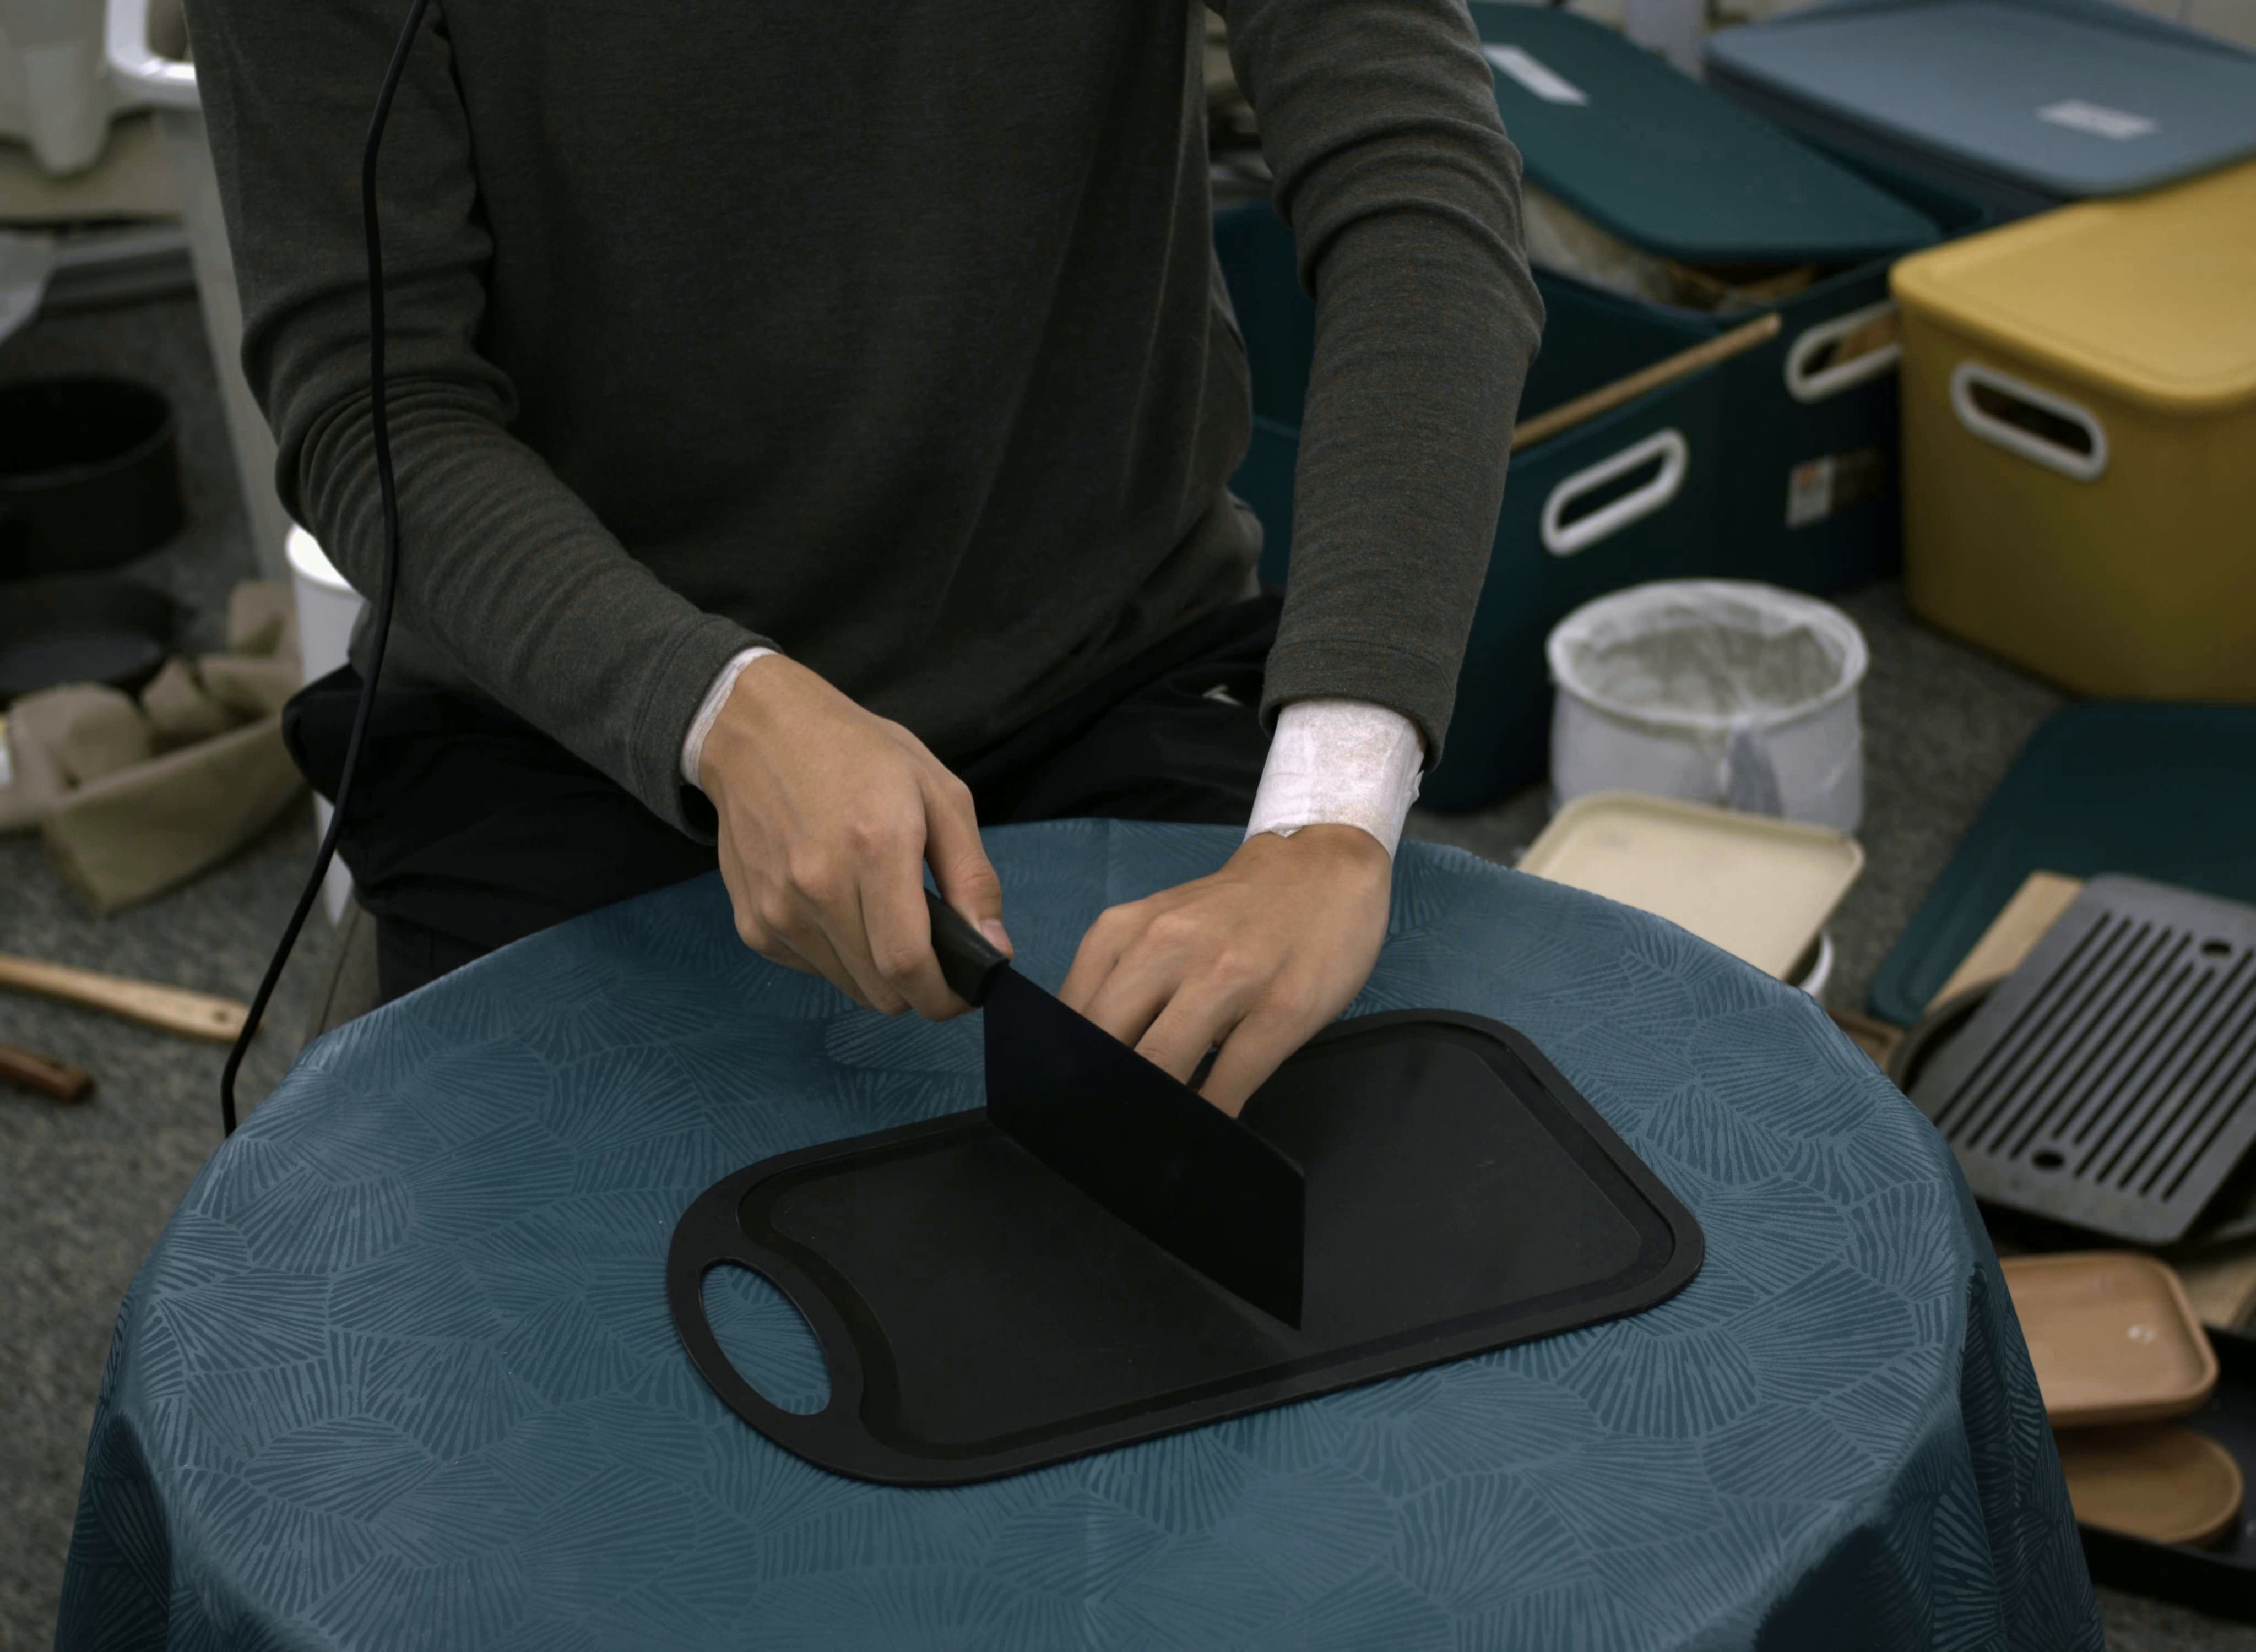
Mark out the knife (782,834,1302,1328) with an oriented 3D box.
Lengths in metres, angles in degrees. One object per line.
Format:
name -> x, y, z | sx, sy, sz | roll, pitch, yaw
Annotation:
knife -> -0.031, 0.077, 1.862 | 0.021, 0.080, 0.303 | -15, 33, -31

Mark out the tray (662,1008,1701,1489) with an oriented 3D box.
tray -> 0.011, 0.134, 1.826 | 0.326, 0.009, 0.213 | -11, 30, -18
